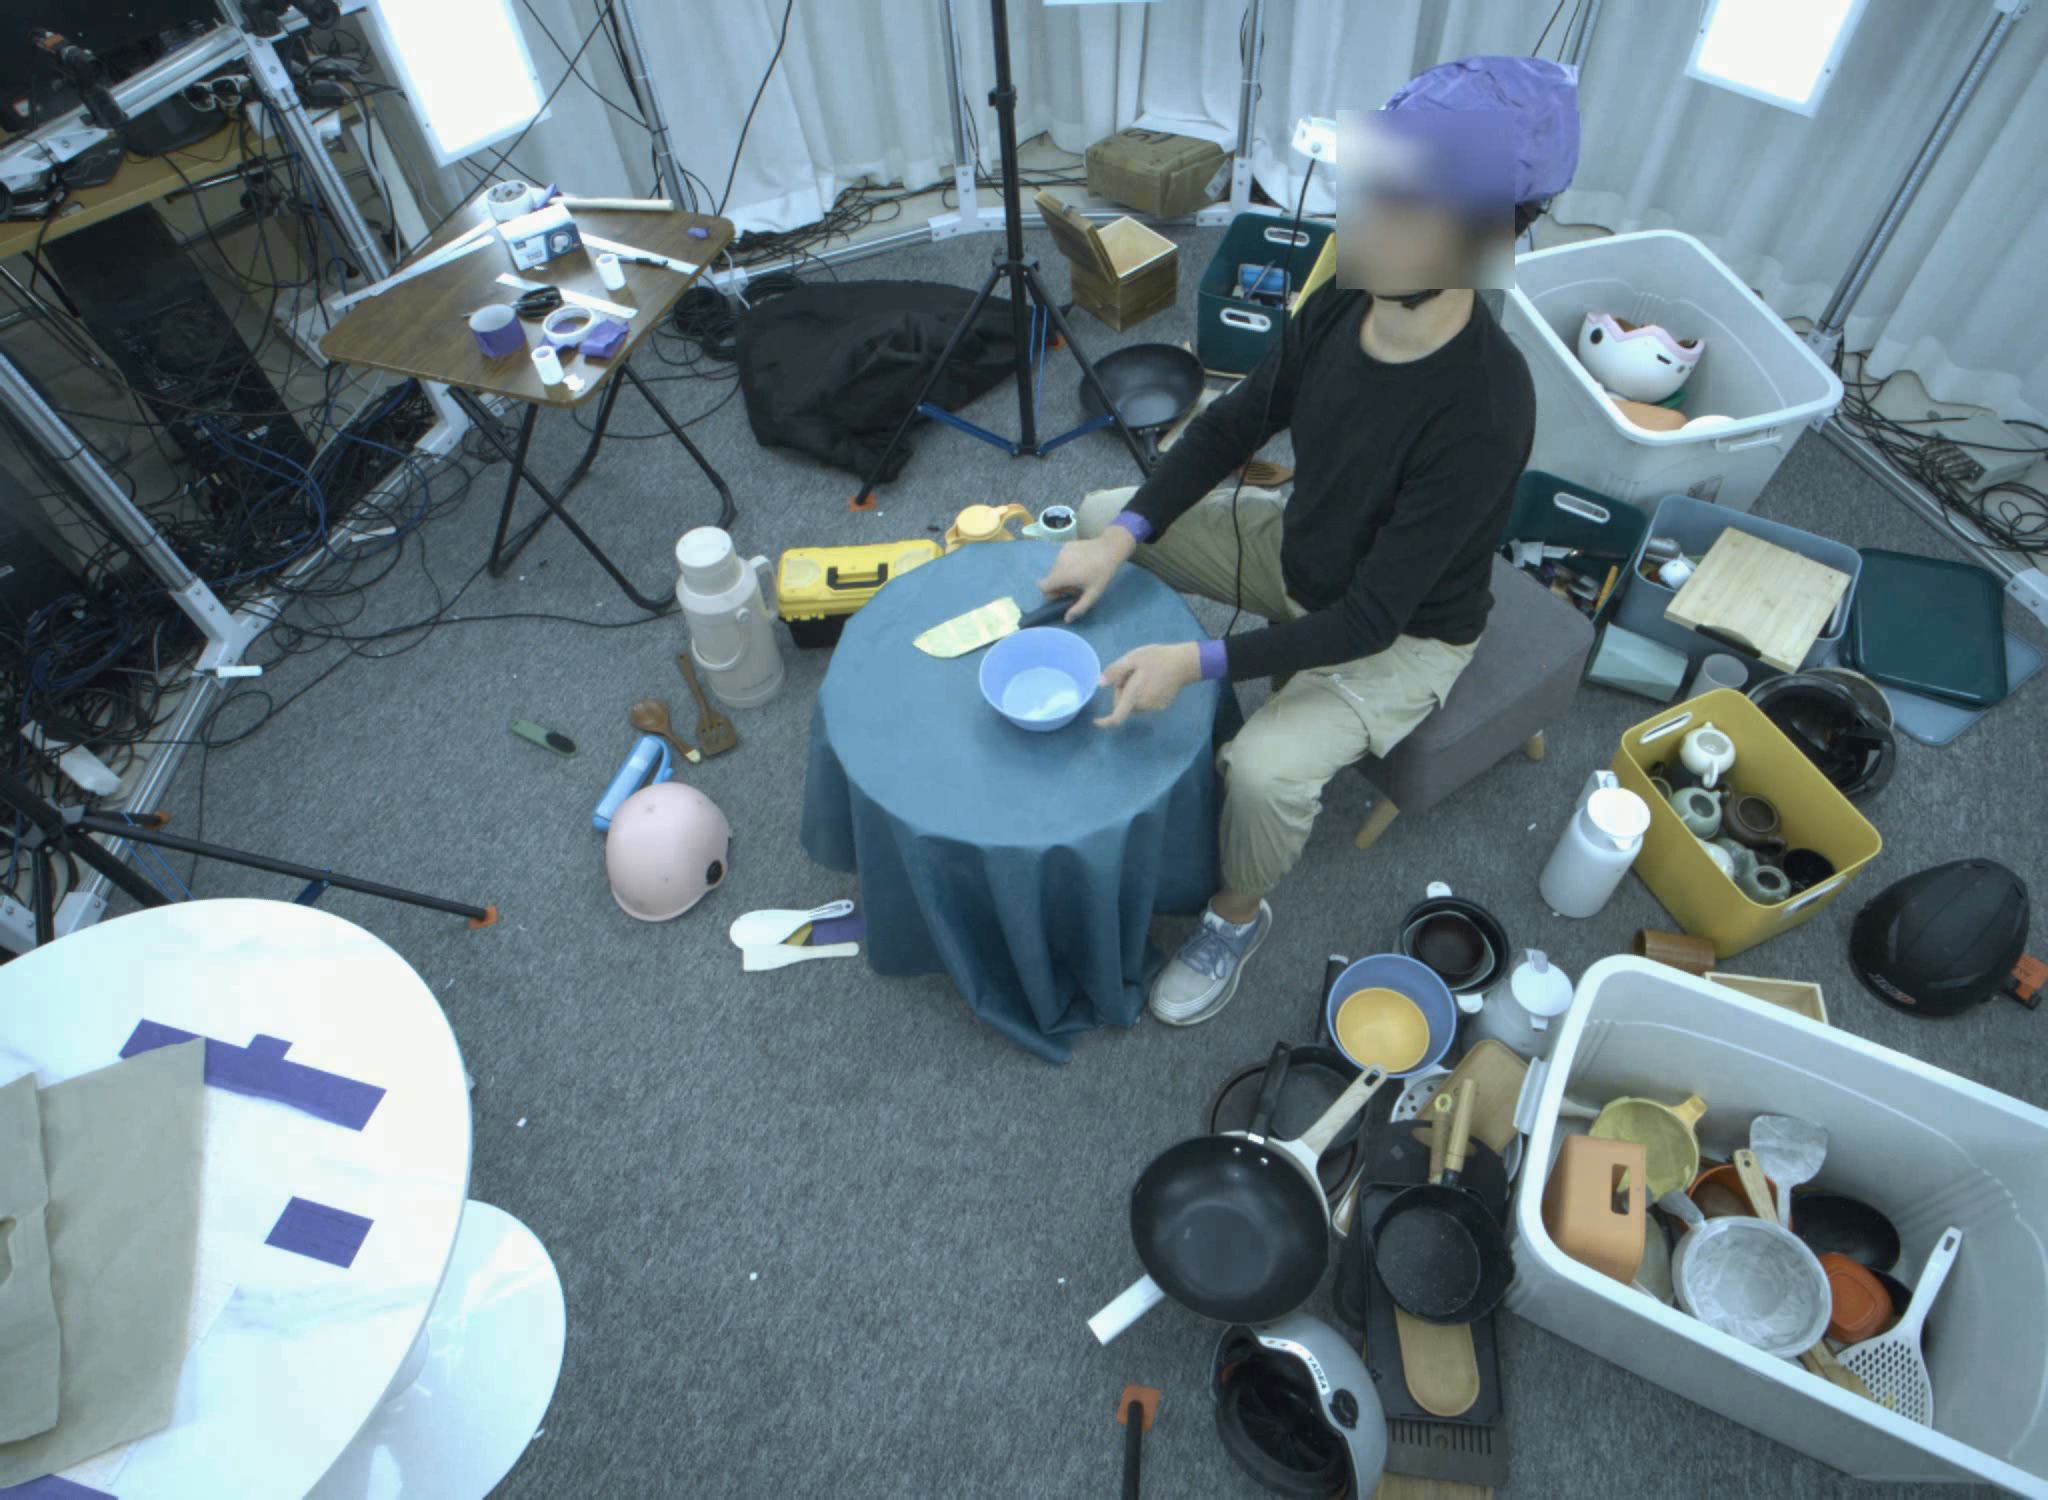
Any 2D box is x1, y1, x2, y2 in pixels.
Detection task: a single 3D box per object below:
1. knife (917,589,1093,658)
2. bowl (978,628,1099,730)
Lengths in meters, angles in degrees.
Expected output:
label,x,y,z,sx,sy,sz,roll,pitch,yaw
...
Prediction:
label,x,y,z,sx,sy,sz,roll,pitch,yaw
knife,-0.031,-0.206,1.923,0.291,0.027,0.079,-19,59,-10
bowl,0.023,-0.094,1.808,0.176,0.071,0.174,-1,54,2
